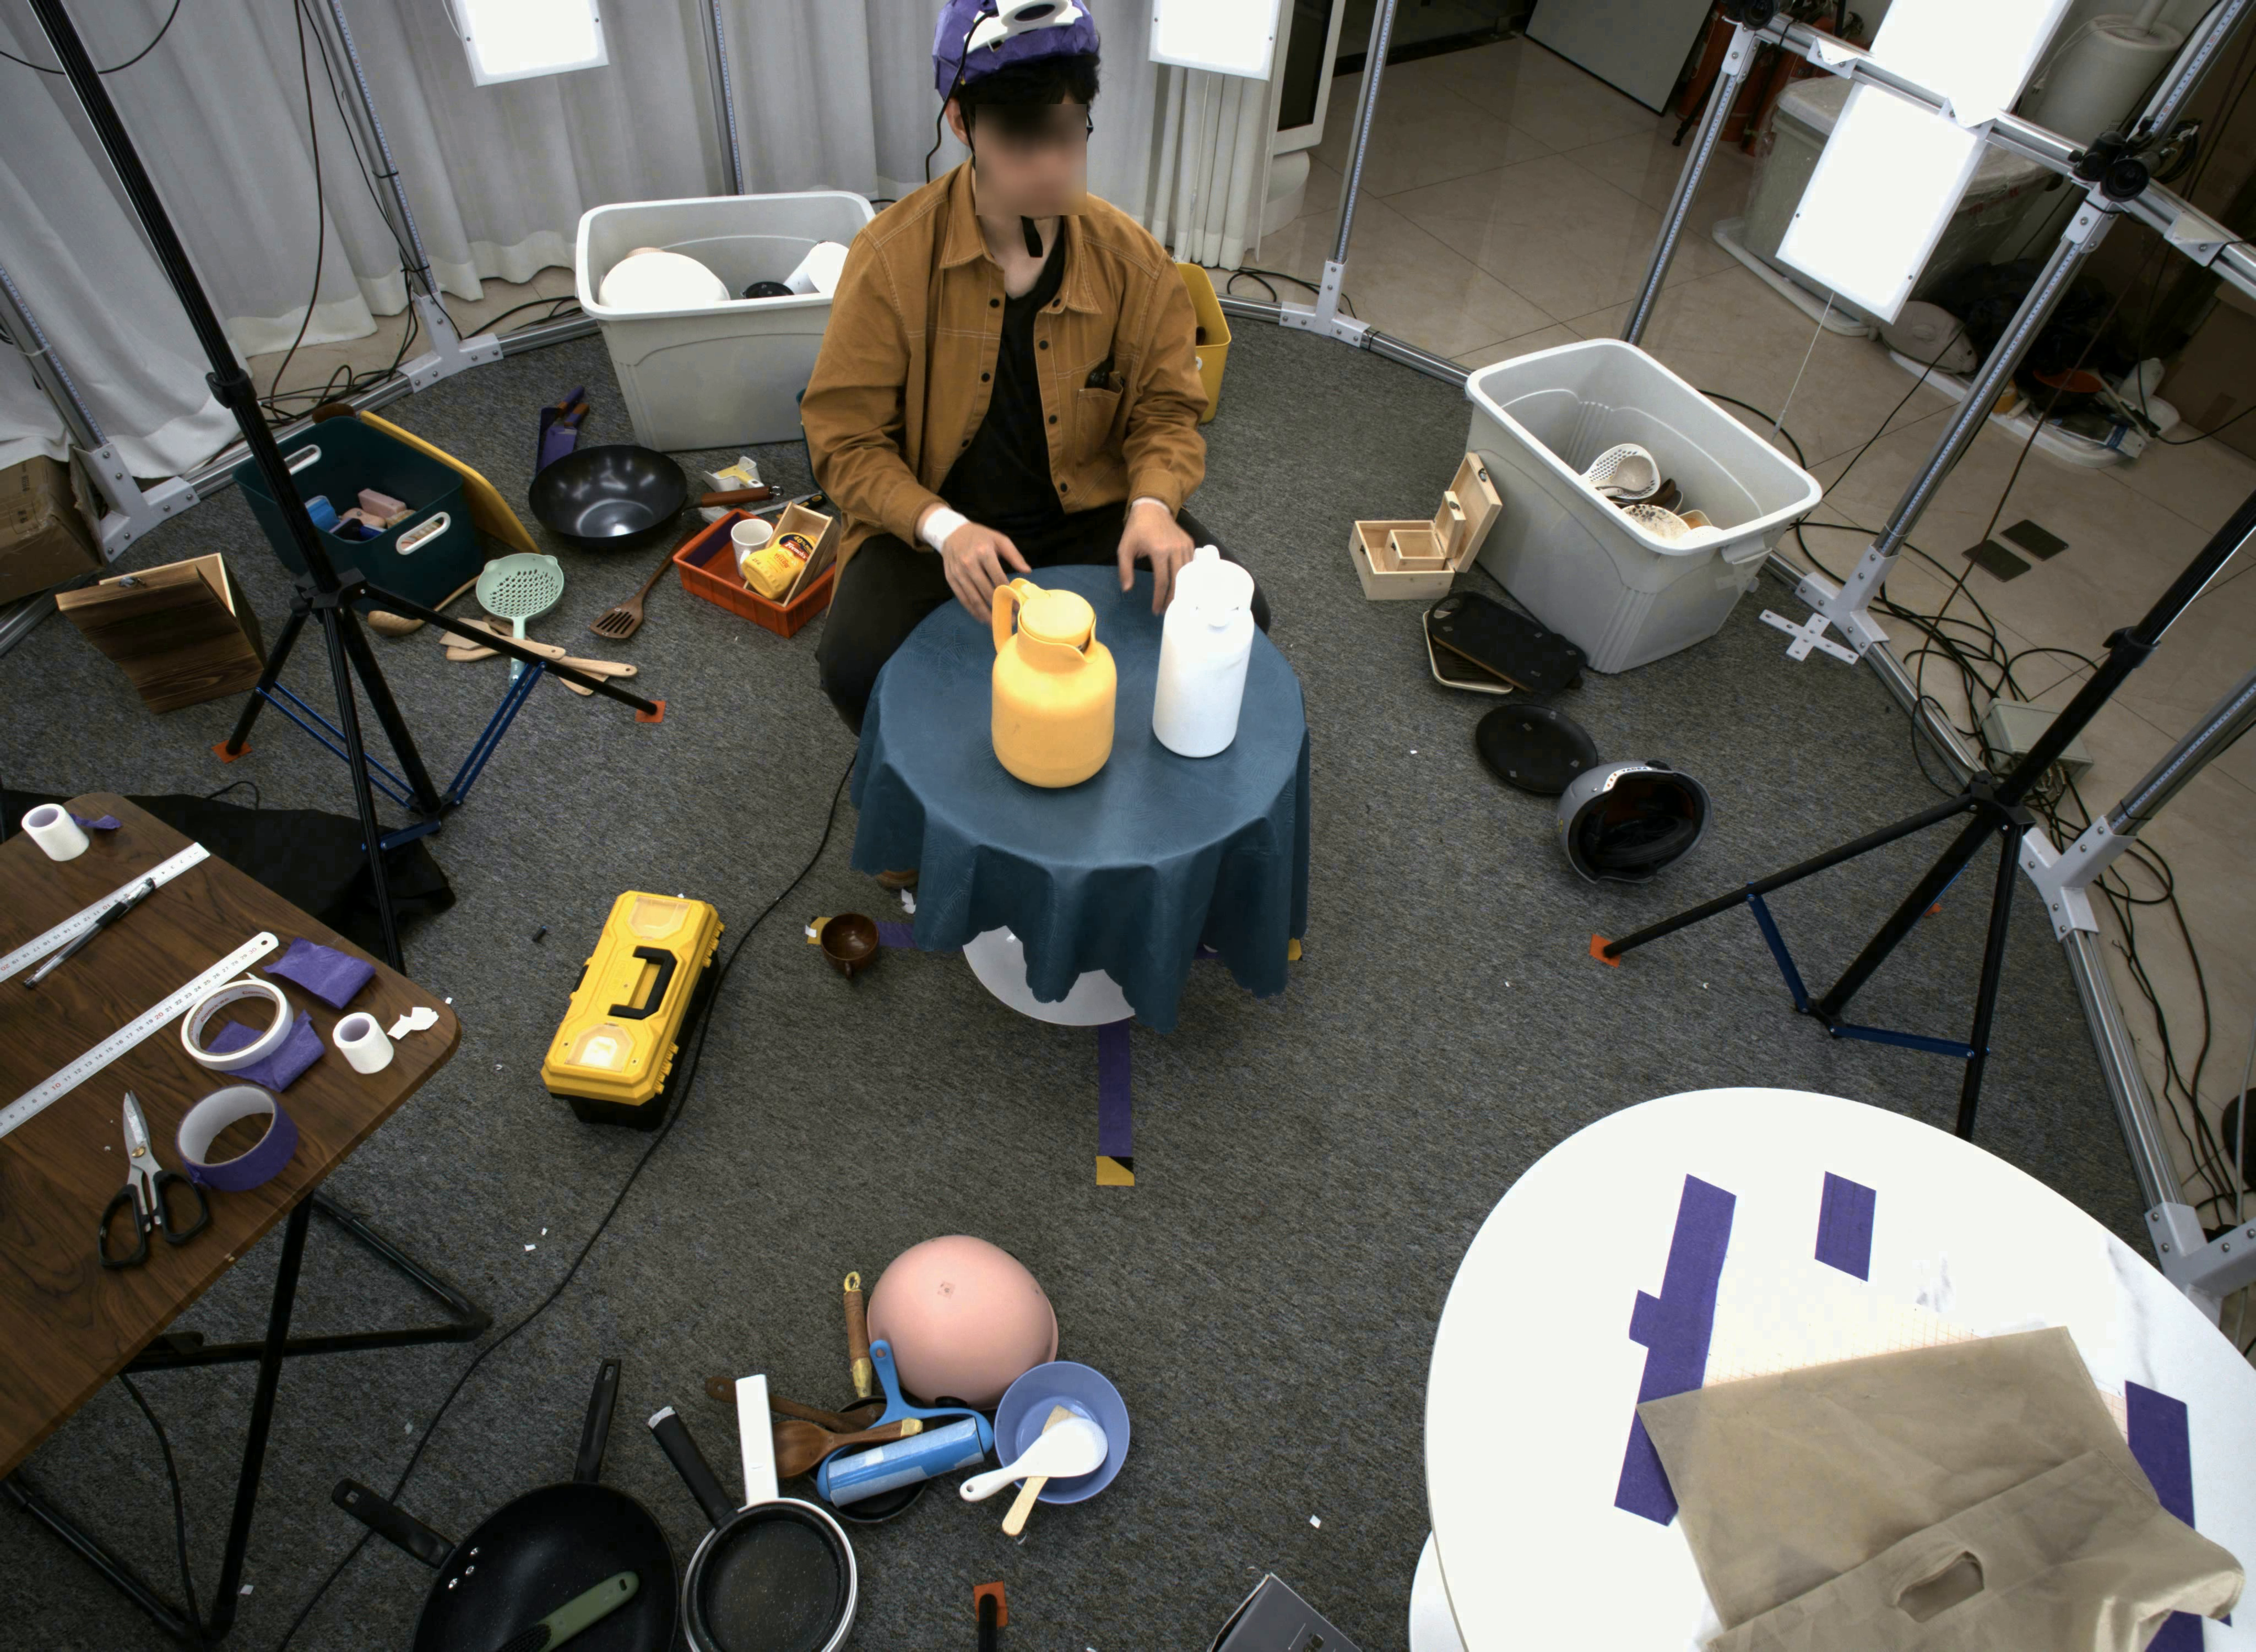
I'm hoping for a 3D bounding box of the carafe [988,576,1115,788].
[{"bbox_3d":[-0.108,-0.194,1.661,0.164,0.254,0.206,-25,57,-27],"label":"carafe"}]

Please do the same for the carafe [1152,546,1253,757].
[{"bbox_3d":[0.097,-0.233,1.705,0.124,0.262,0.177,-2,49,-3],"label":"carafe"}]
